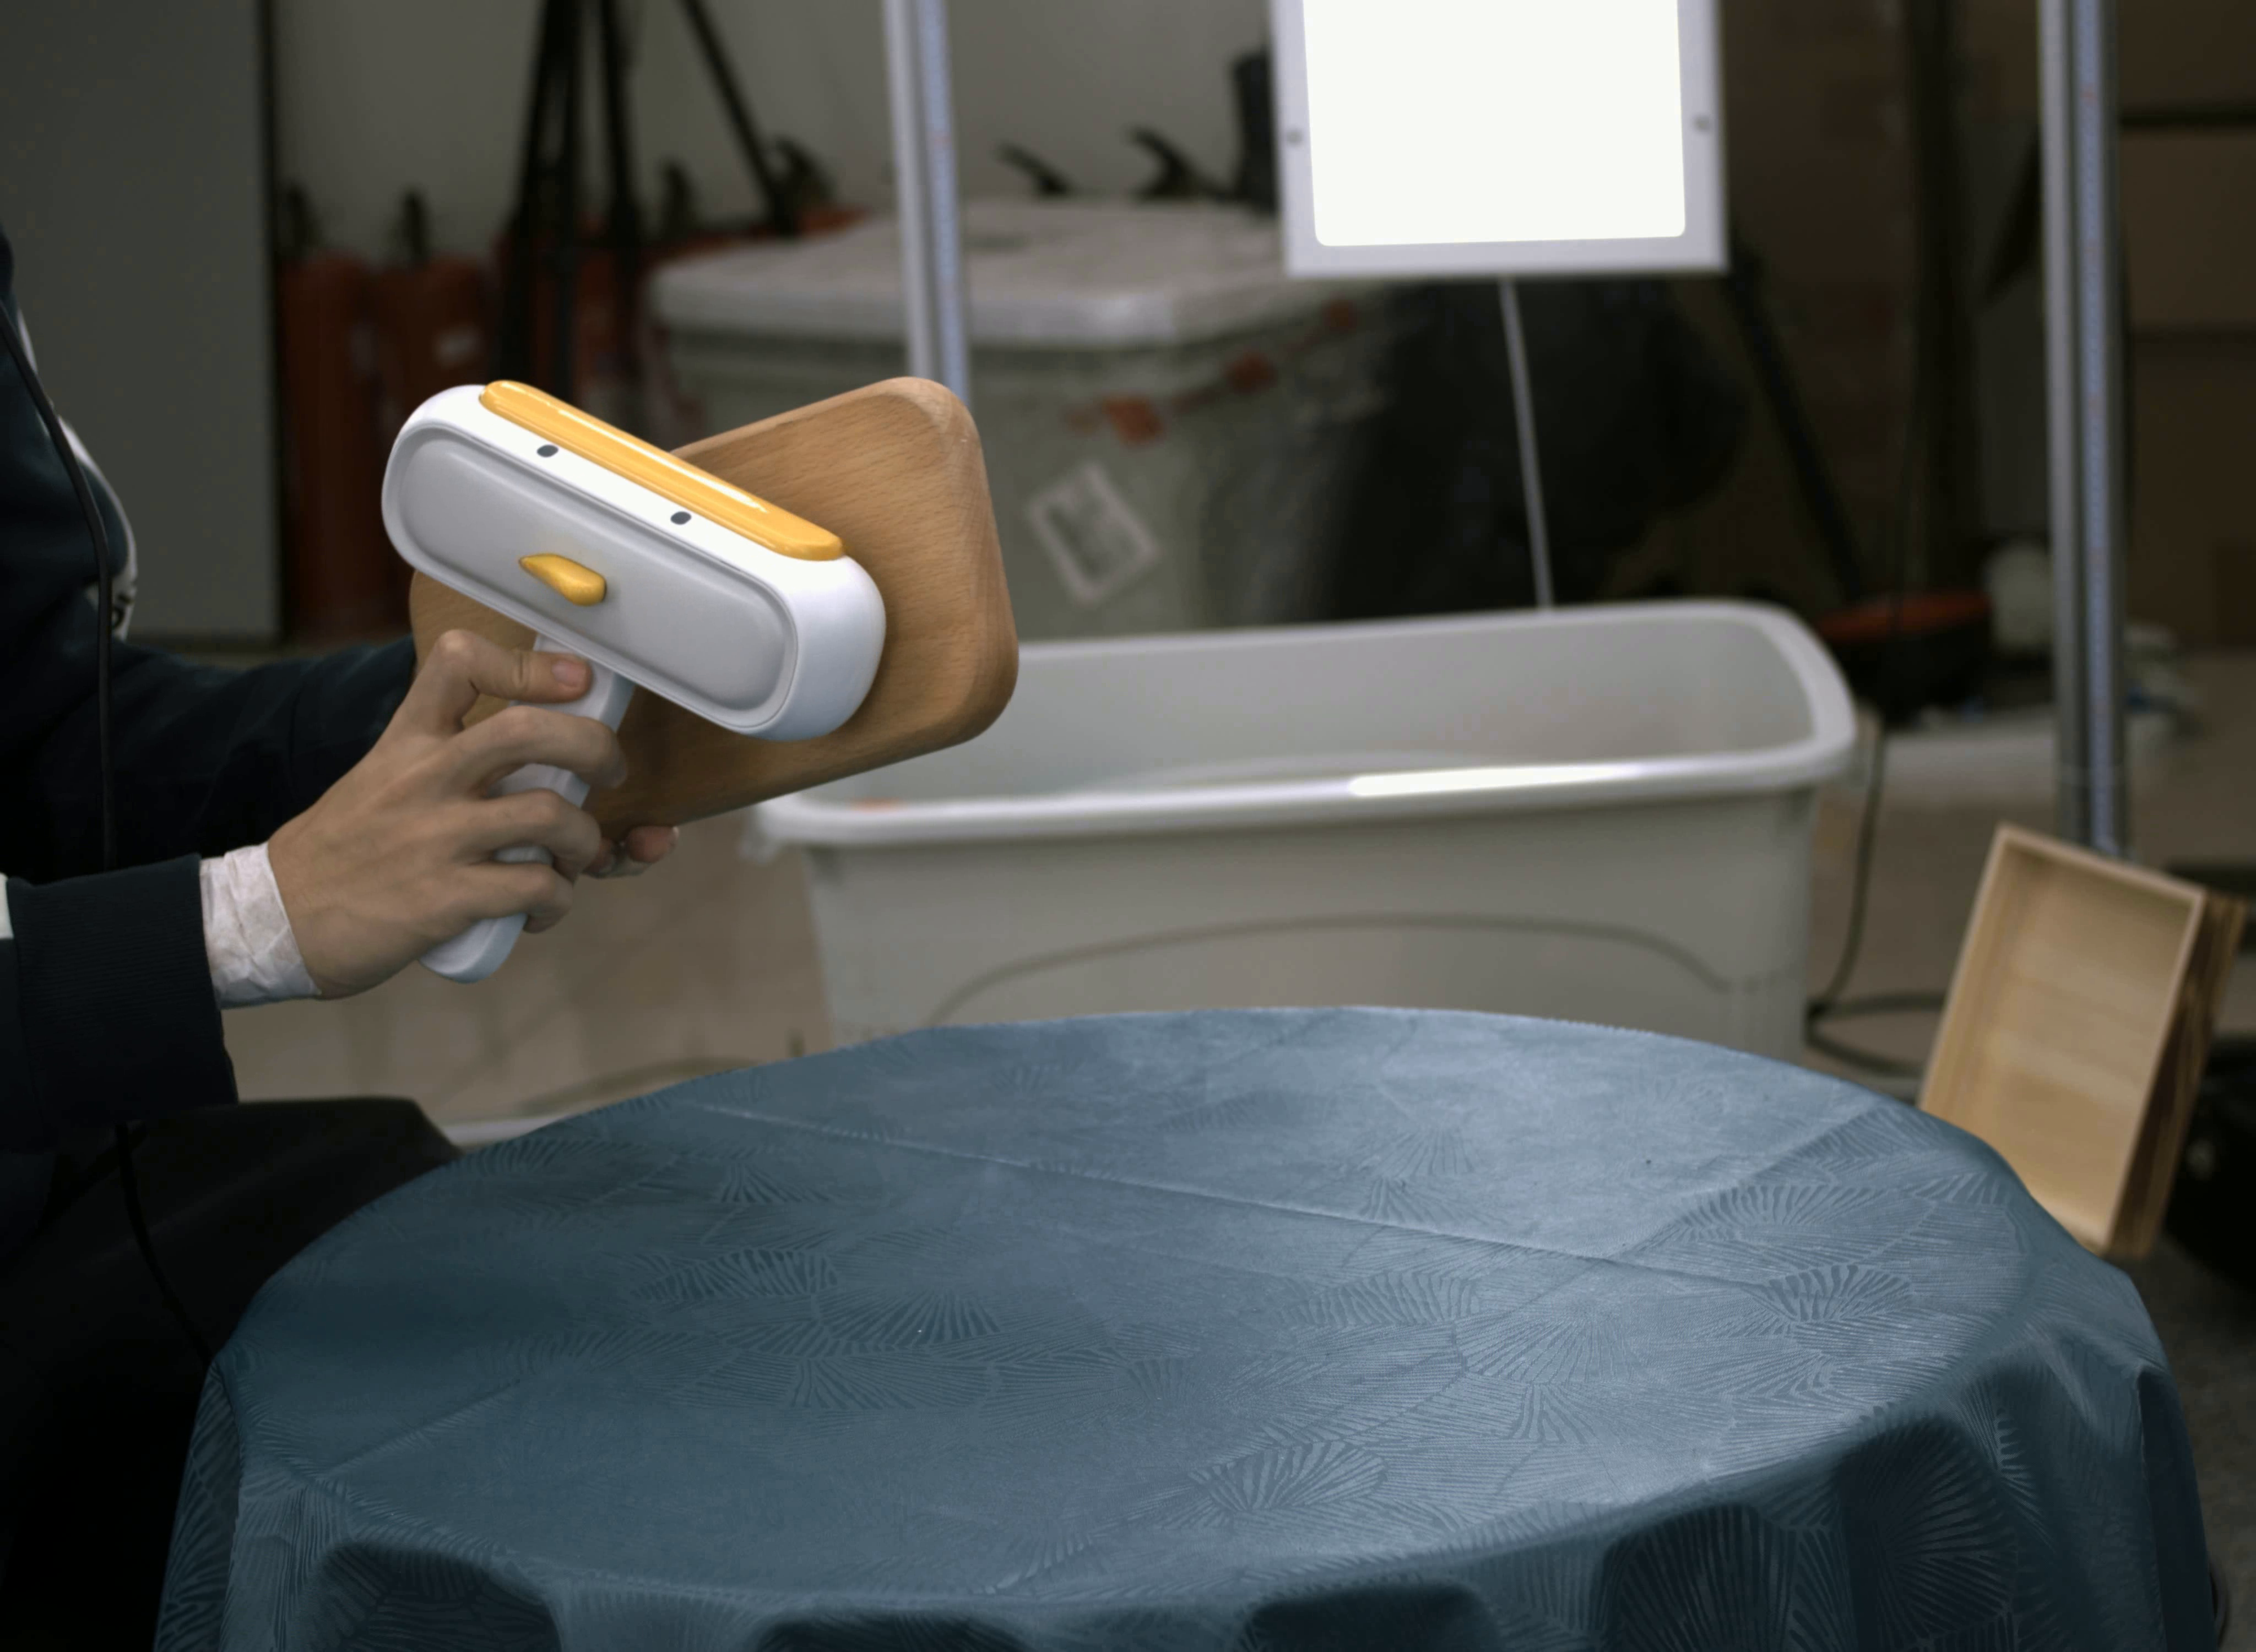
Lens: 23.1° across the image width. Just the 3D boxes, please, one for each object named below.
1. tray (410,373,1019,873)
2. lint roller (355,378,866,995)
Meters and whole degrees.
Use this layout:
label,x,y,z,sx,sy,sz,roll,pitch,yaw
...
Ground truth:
label,x,y,z,sx,sy,sz,roll,pitch,yaw
tray,-0.147,-0.066,1.893,0.256,0.131,0.022,-17,-12,34
lint roller,-0.193,-0.037,1.865,0.195,0.194,0.072,21,16,22
